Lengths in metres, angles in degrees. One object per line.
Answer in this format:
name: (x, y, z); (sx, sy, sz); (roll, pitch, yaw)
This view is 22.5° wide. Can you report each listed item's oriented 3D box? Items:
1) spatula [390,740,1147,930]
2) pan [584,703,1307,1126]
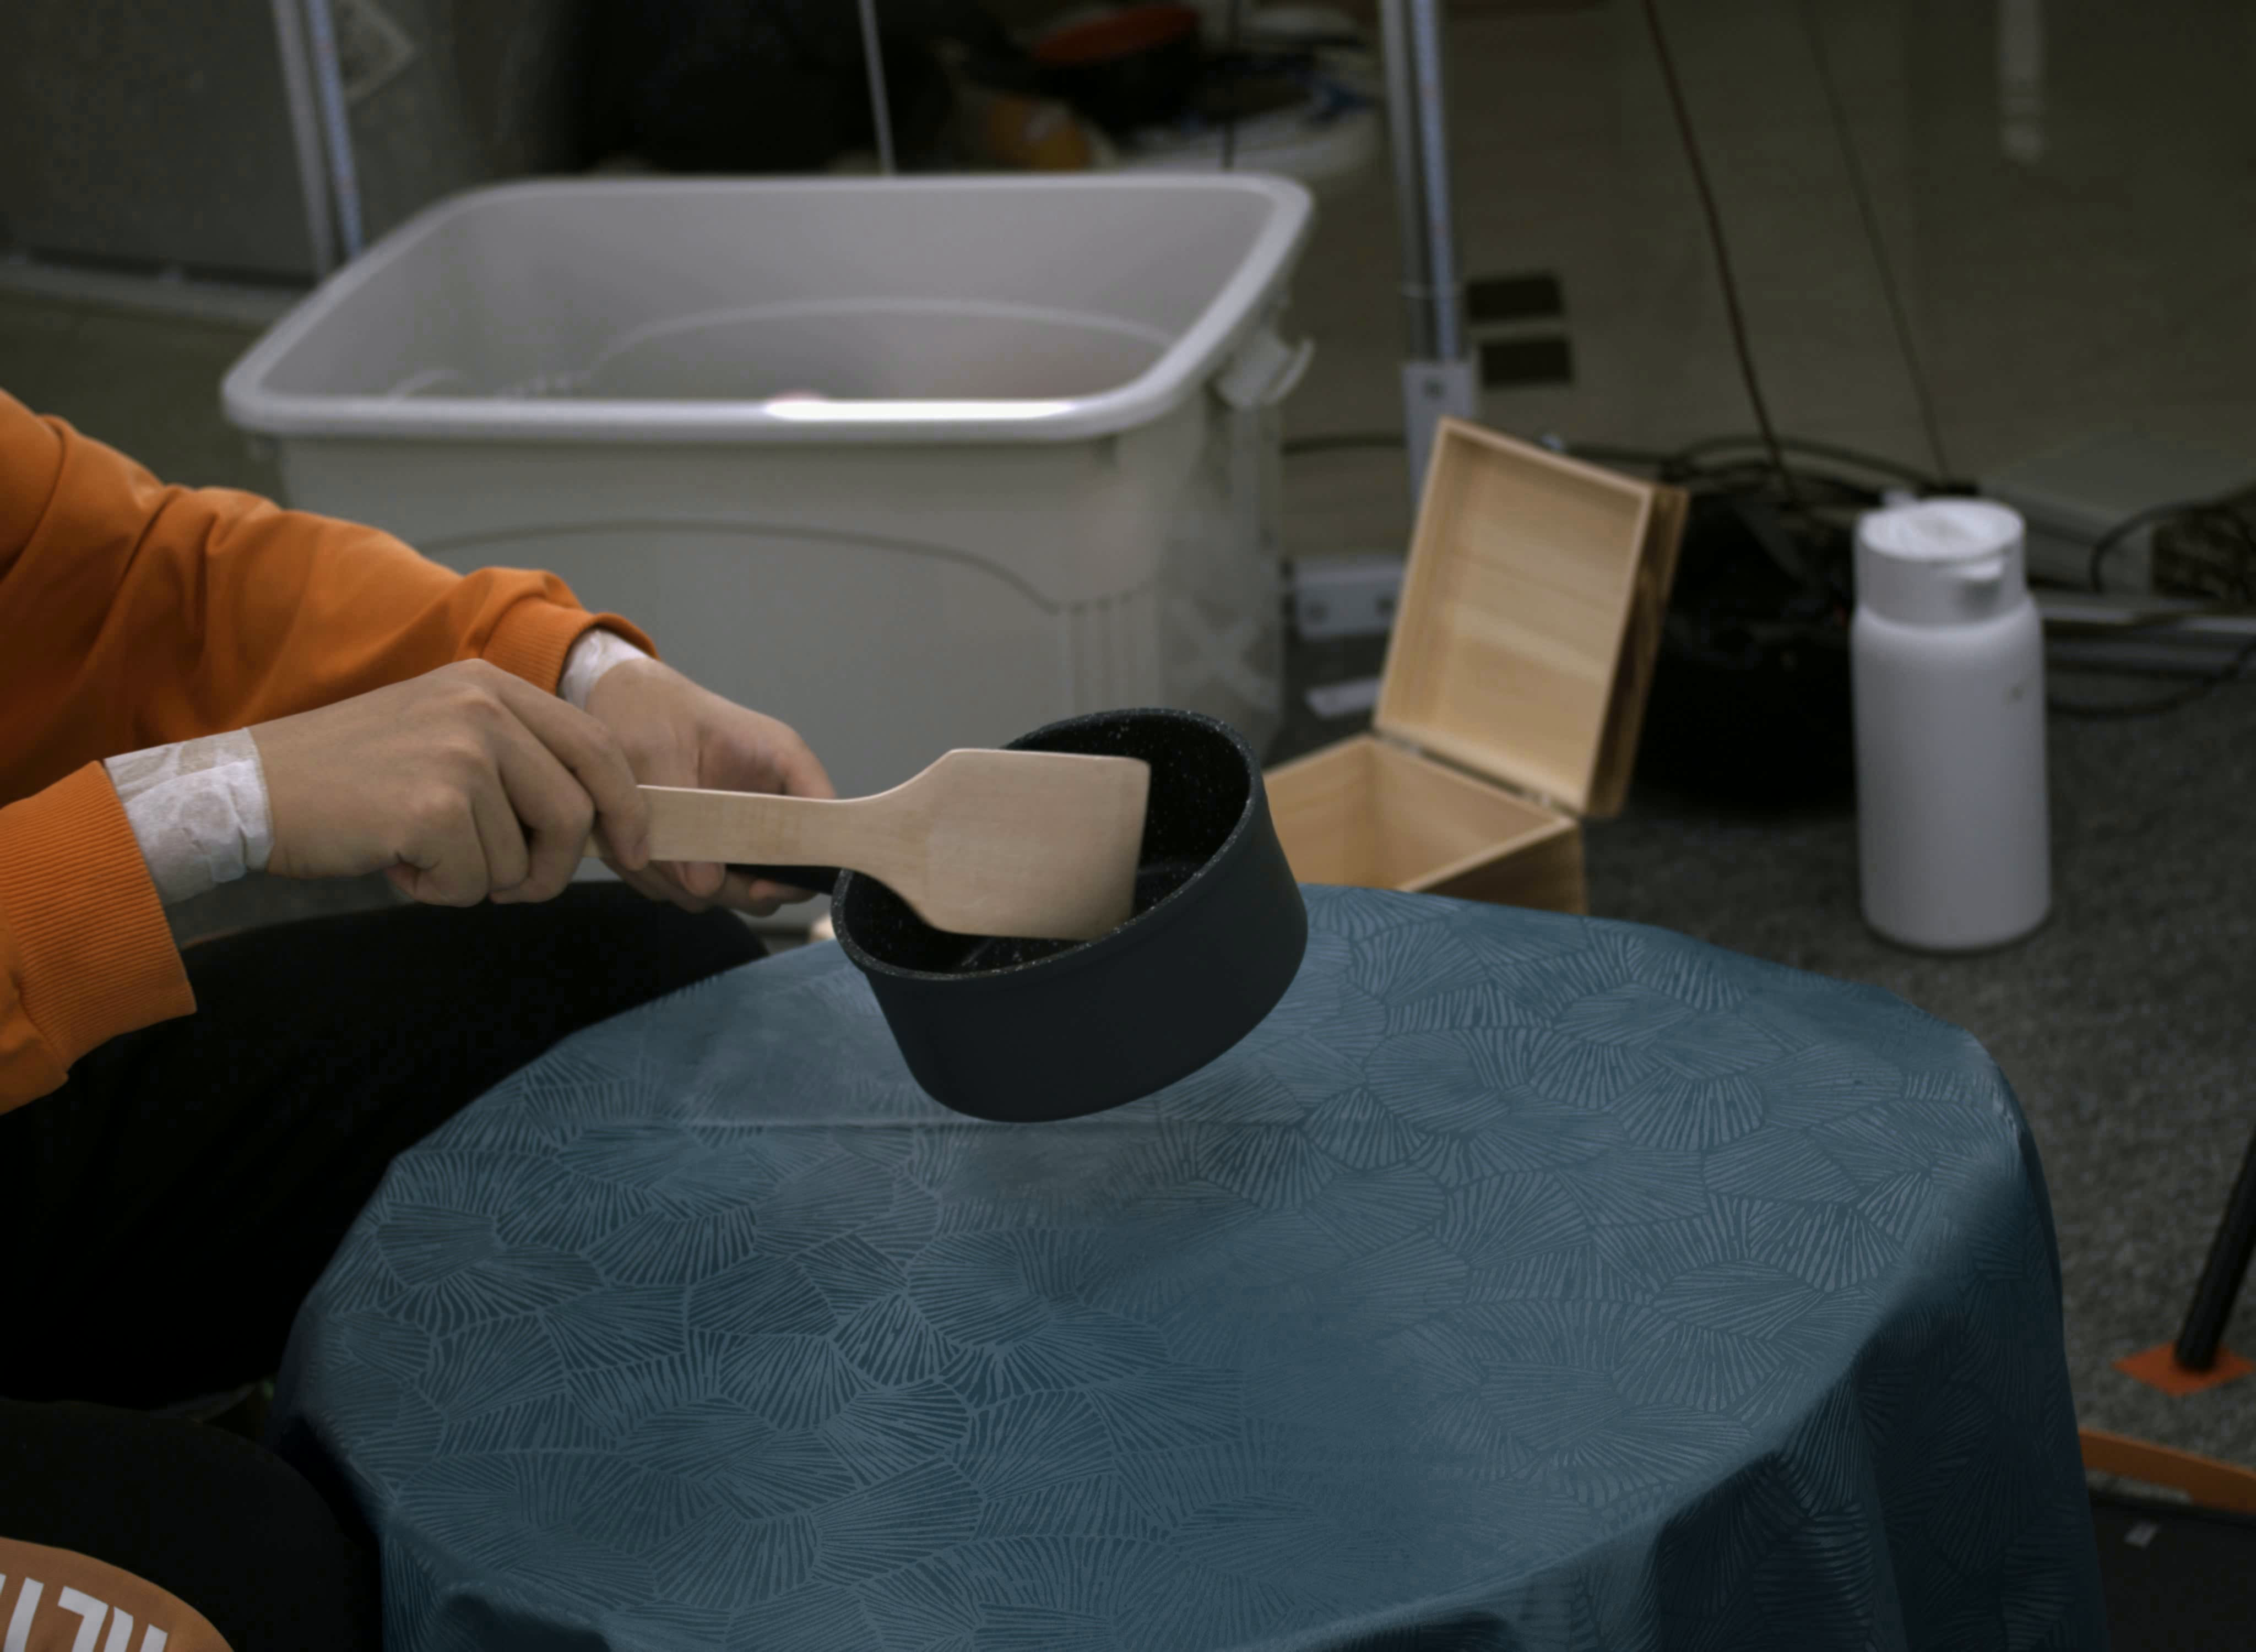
spatula: (-0.126, 0.000, 2.037); (0.293, 0.073, 0.010); (2, 17, -26)
pan: (-0.080, 0.025, 2.185); (0.327, 0.088, 0.170); (9, 42, 41)
